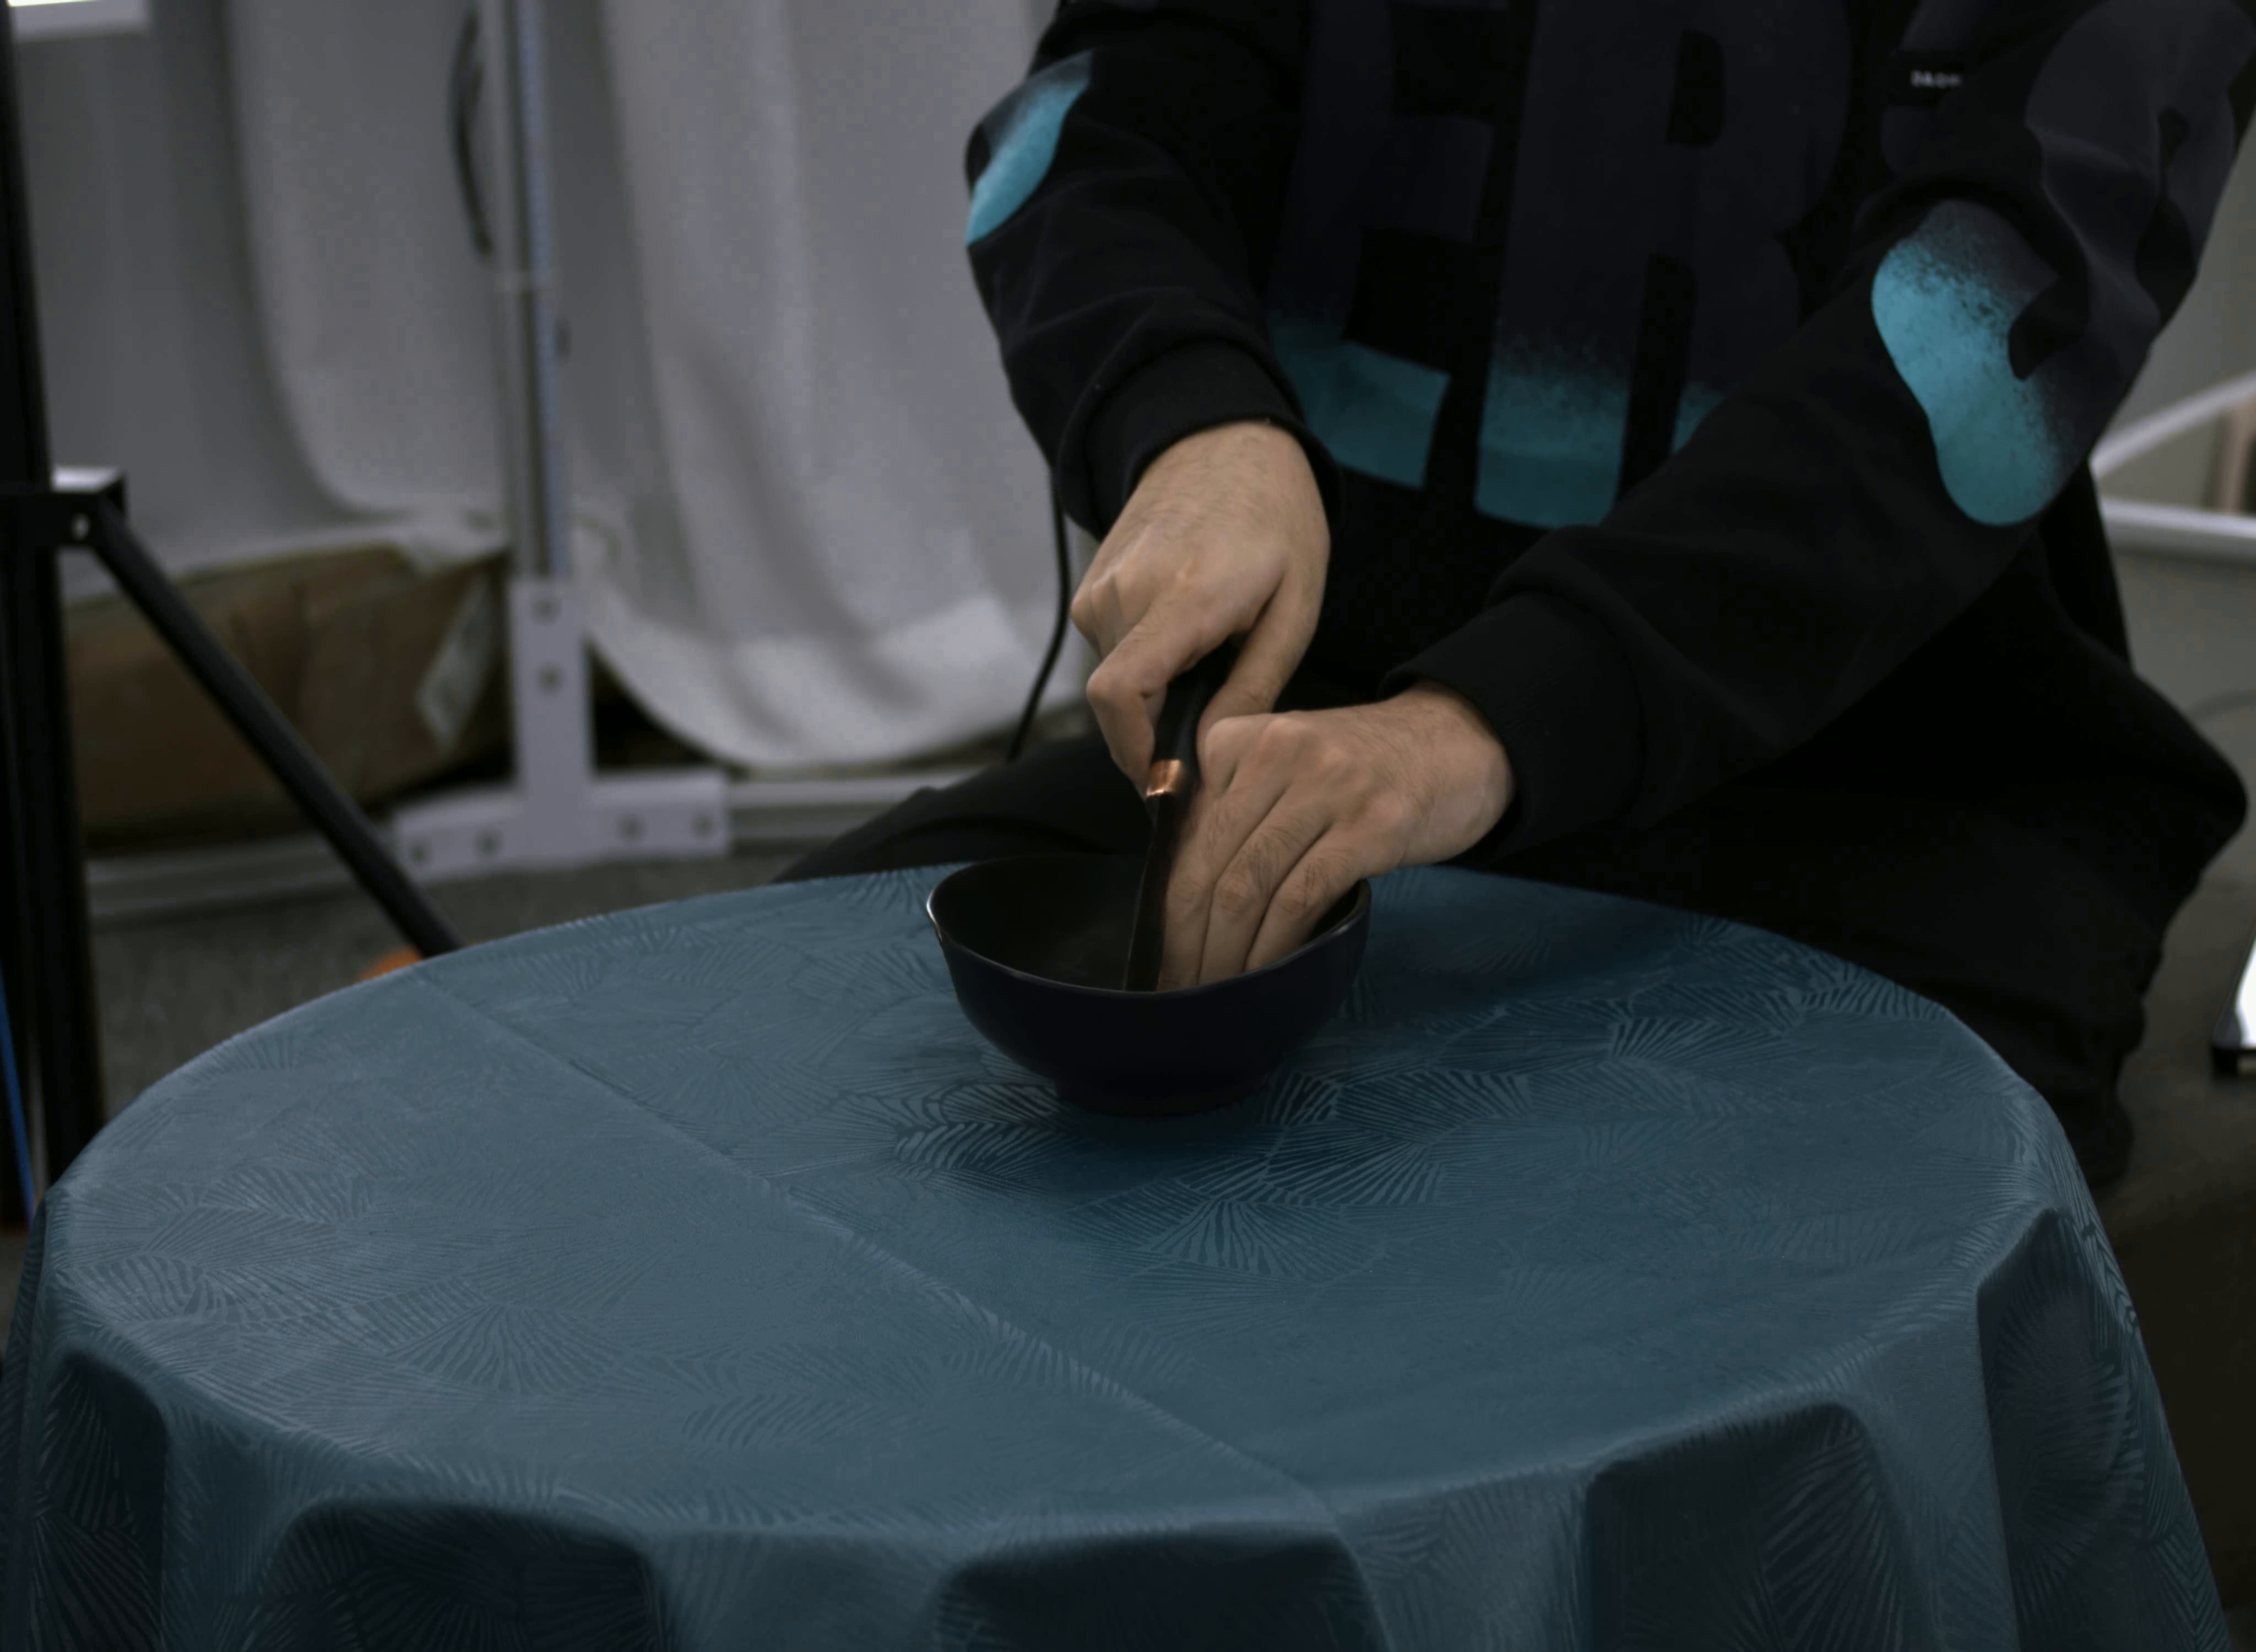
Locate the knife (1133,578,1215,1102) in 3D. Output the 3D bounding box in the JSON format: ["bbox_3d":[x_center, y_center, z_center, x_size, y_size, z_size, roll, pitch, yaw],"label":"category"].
[{"bbox_3d":[0.012,0.001,1.682,0.017,0.026,0.227,-15,40,20],"label":"knife"}]

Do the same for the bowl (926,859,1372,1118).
[{"bbox_3d":[0.008,0.051,1.641,0.137,0.067,0.170,-1,14,4],"label":"bowl"}]
